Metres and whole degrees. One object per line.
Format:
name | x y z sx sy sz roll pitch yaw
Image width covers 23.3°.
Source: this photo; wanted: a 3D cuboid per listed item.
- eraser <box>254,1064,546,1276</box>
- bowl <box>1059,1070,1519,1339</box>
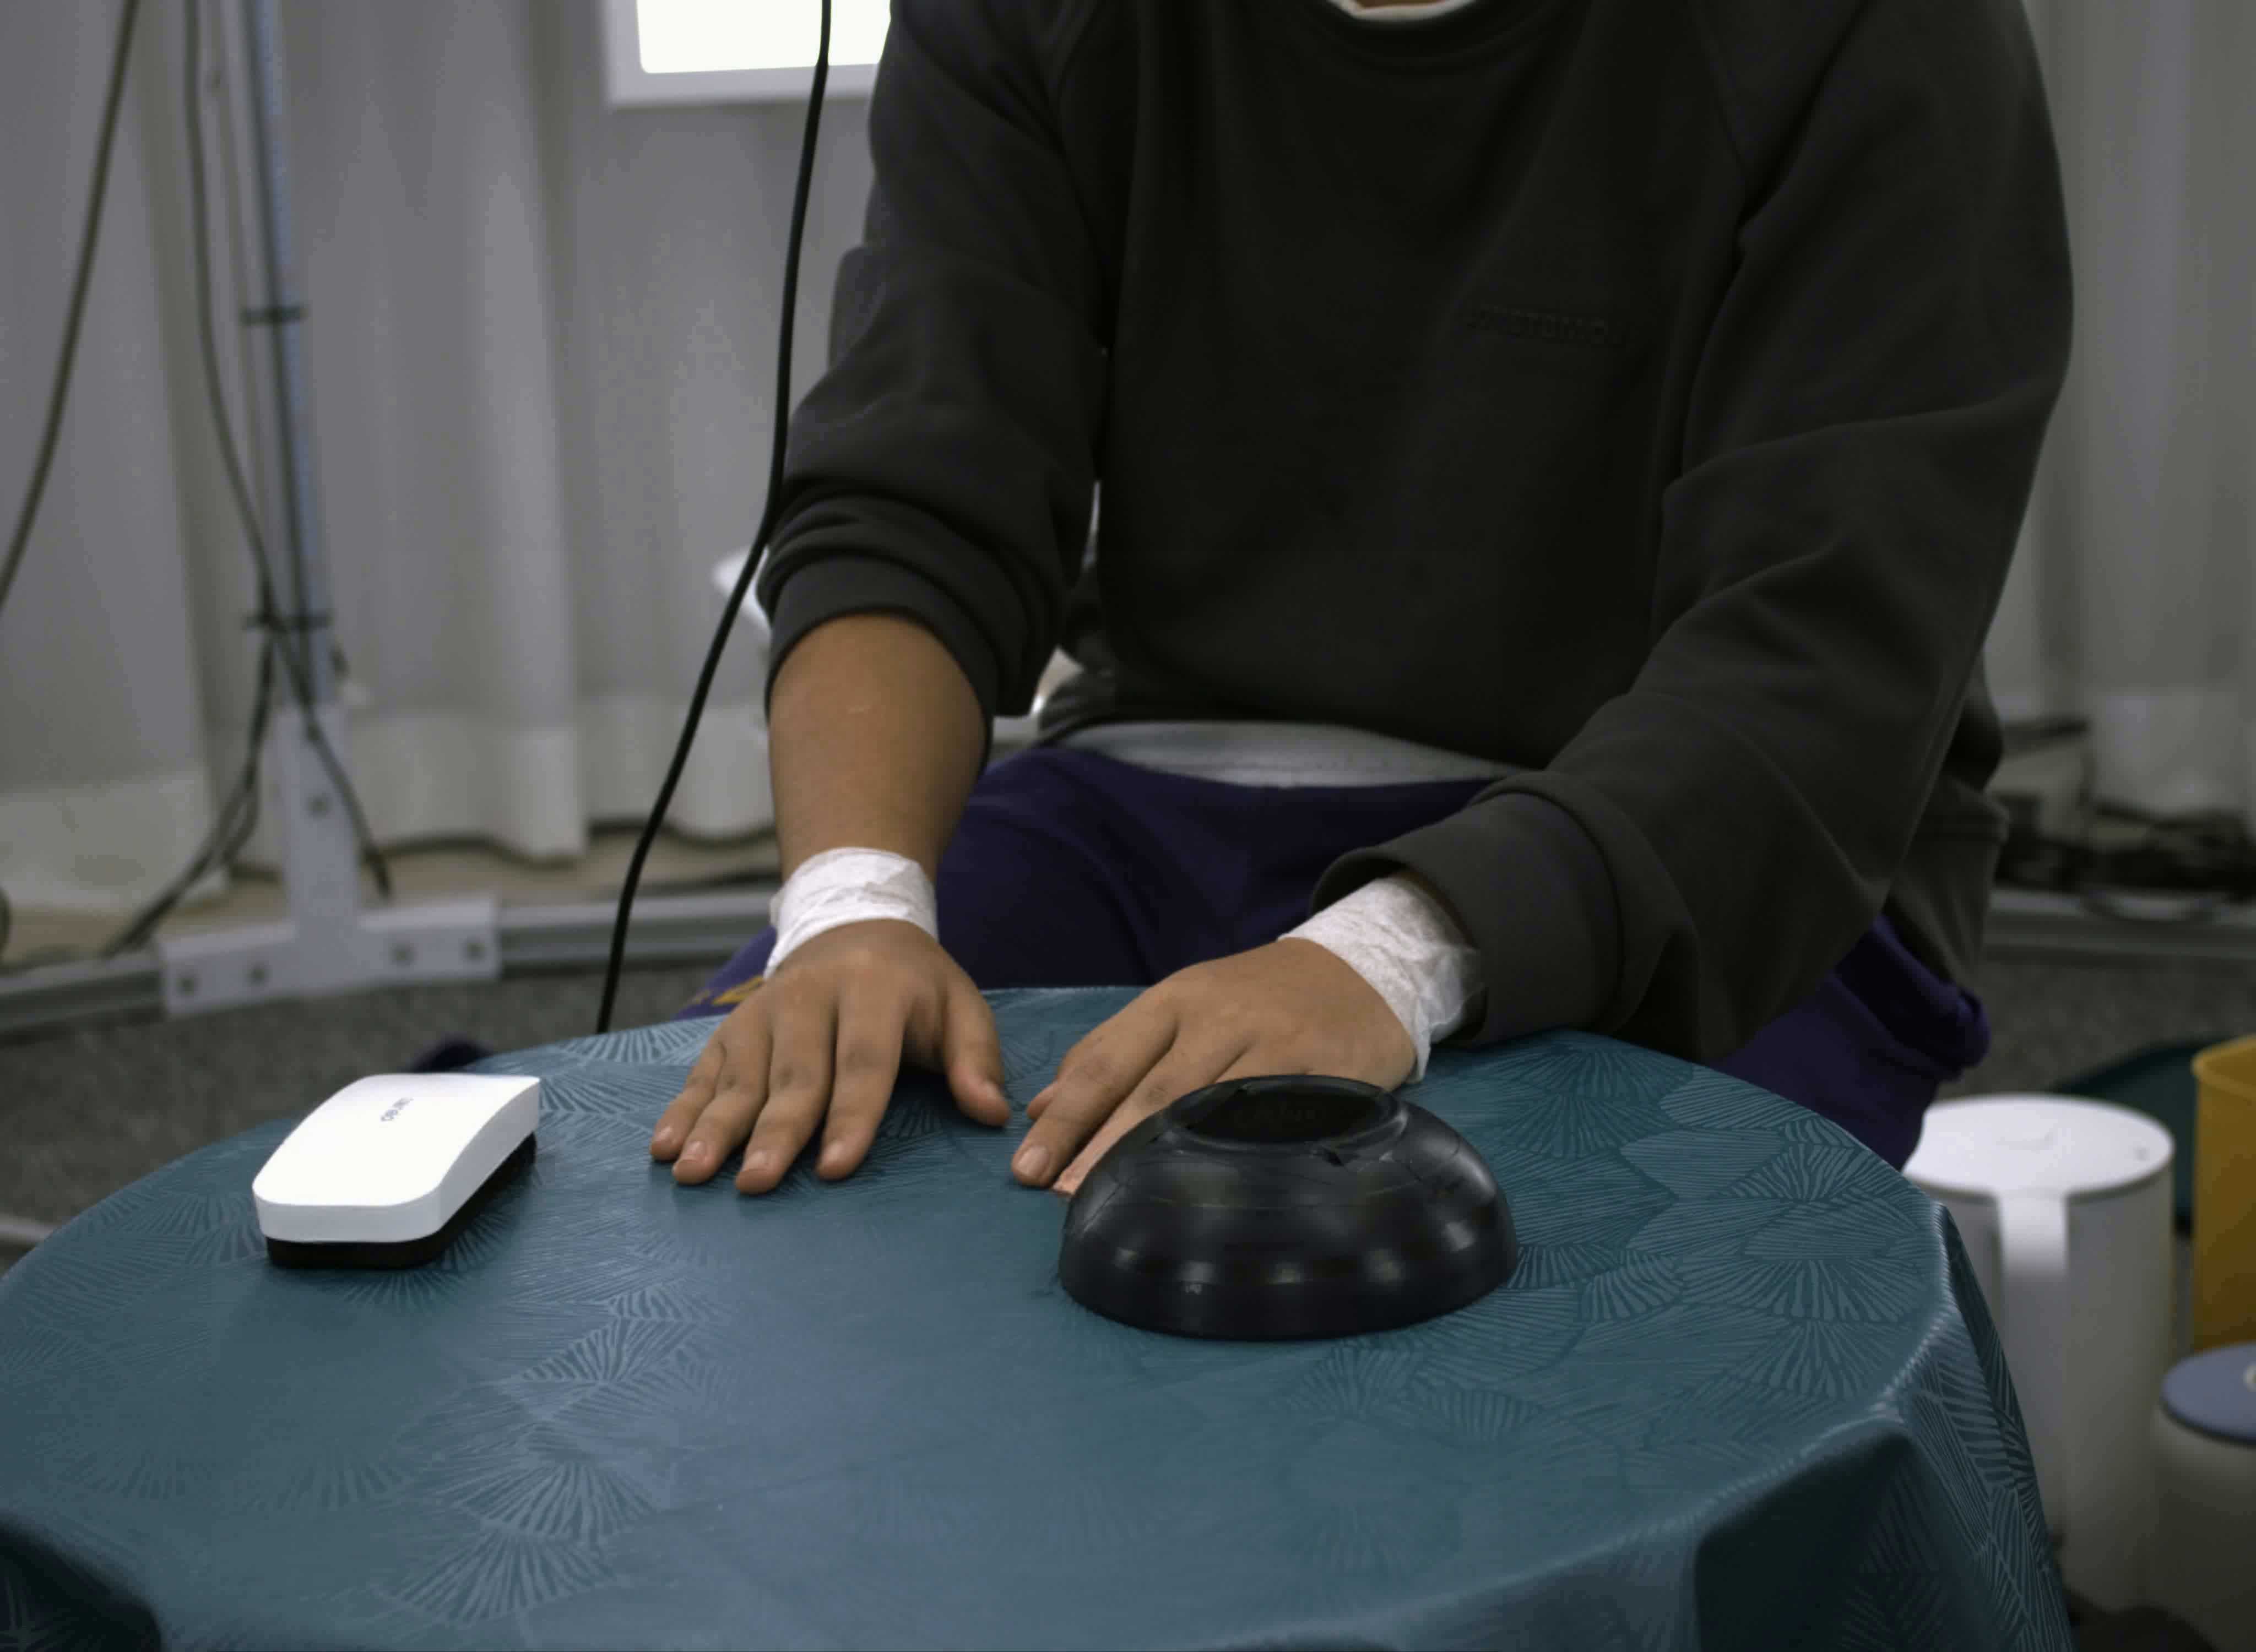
eraser | -0.228 0.105 1.735 0.063 0.034 0.132 2 17 13
bowl | 0.047 0.107 1.637 0.139 0.049 0.141 -4 15 1
